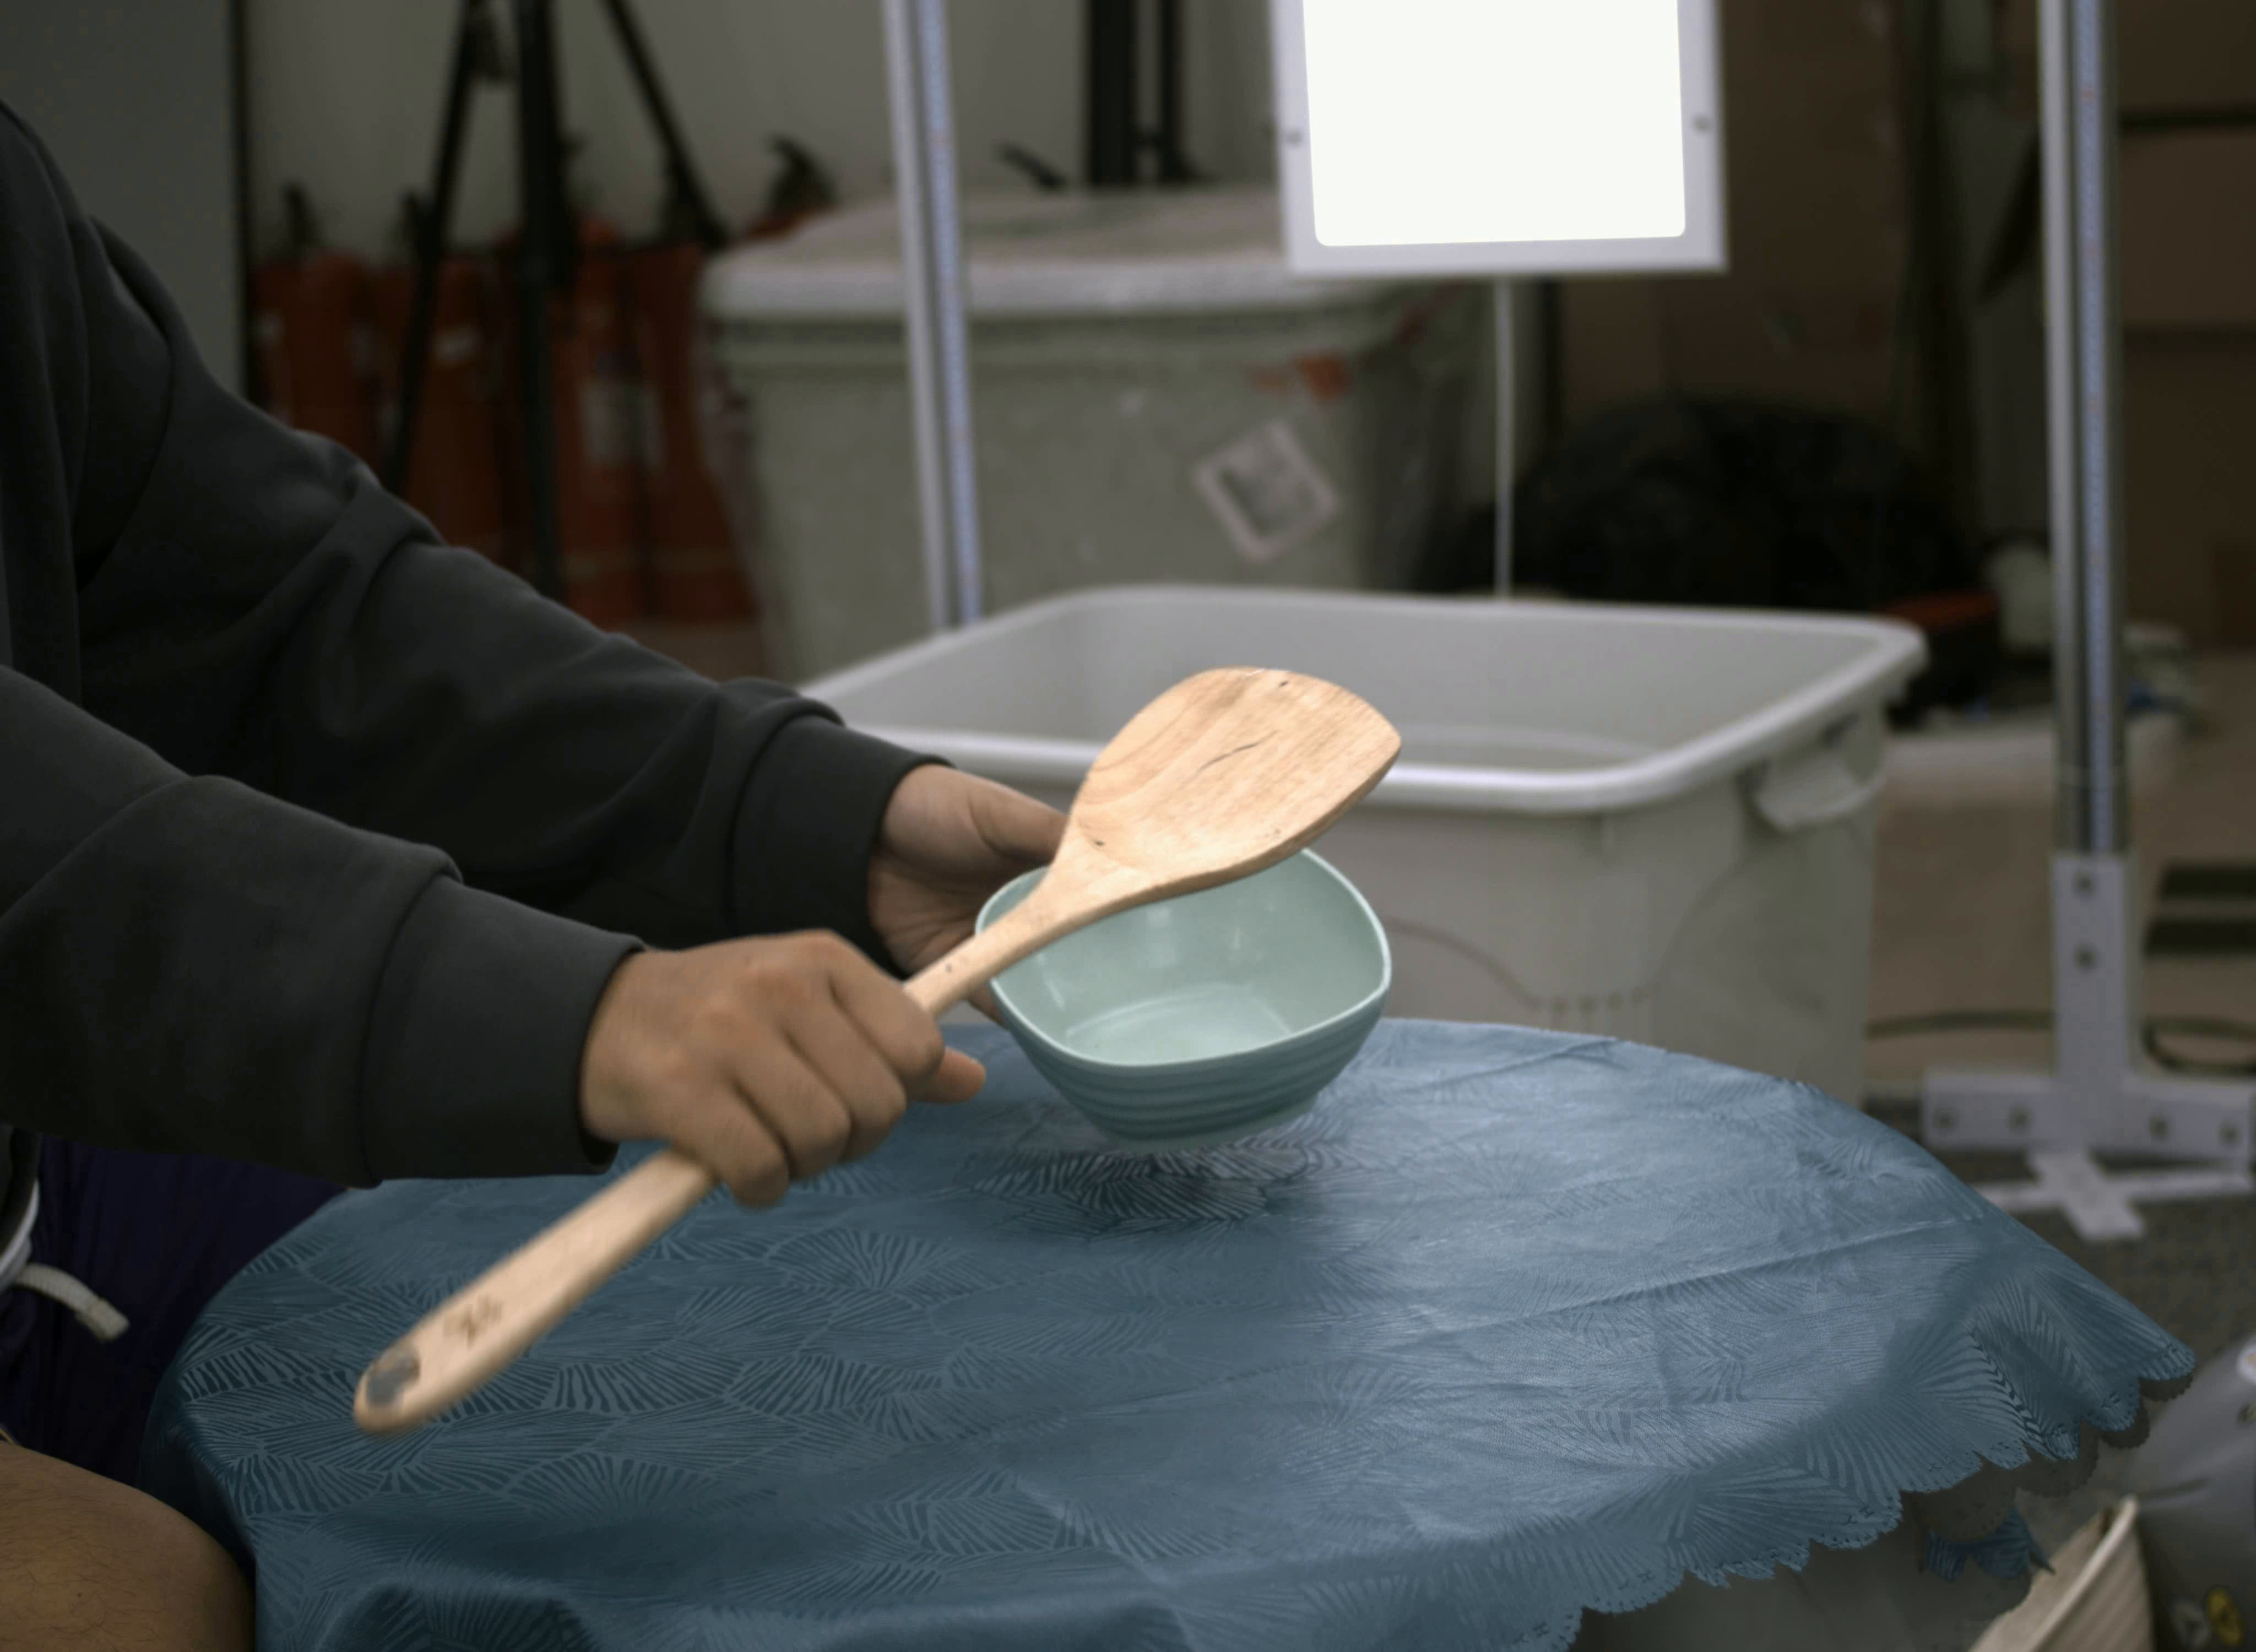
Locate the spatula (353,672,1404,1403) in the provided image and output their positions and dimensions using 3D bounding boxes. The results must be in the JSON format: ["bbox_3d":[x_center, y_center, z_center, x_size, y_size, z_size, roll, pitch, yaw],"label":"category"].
[{"bbox_3d":[-0.072,0.059,1.619,0.383,0.018,0.097,-35,37,-29],"label":"spatula"}]

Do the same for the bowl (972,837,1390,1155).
[{"bbox_3d":[0.019,0.065,1.920,0.151,0.059,0.151,-3,33,1],"label":"bowl"}]
